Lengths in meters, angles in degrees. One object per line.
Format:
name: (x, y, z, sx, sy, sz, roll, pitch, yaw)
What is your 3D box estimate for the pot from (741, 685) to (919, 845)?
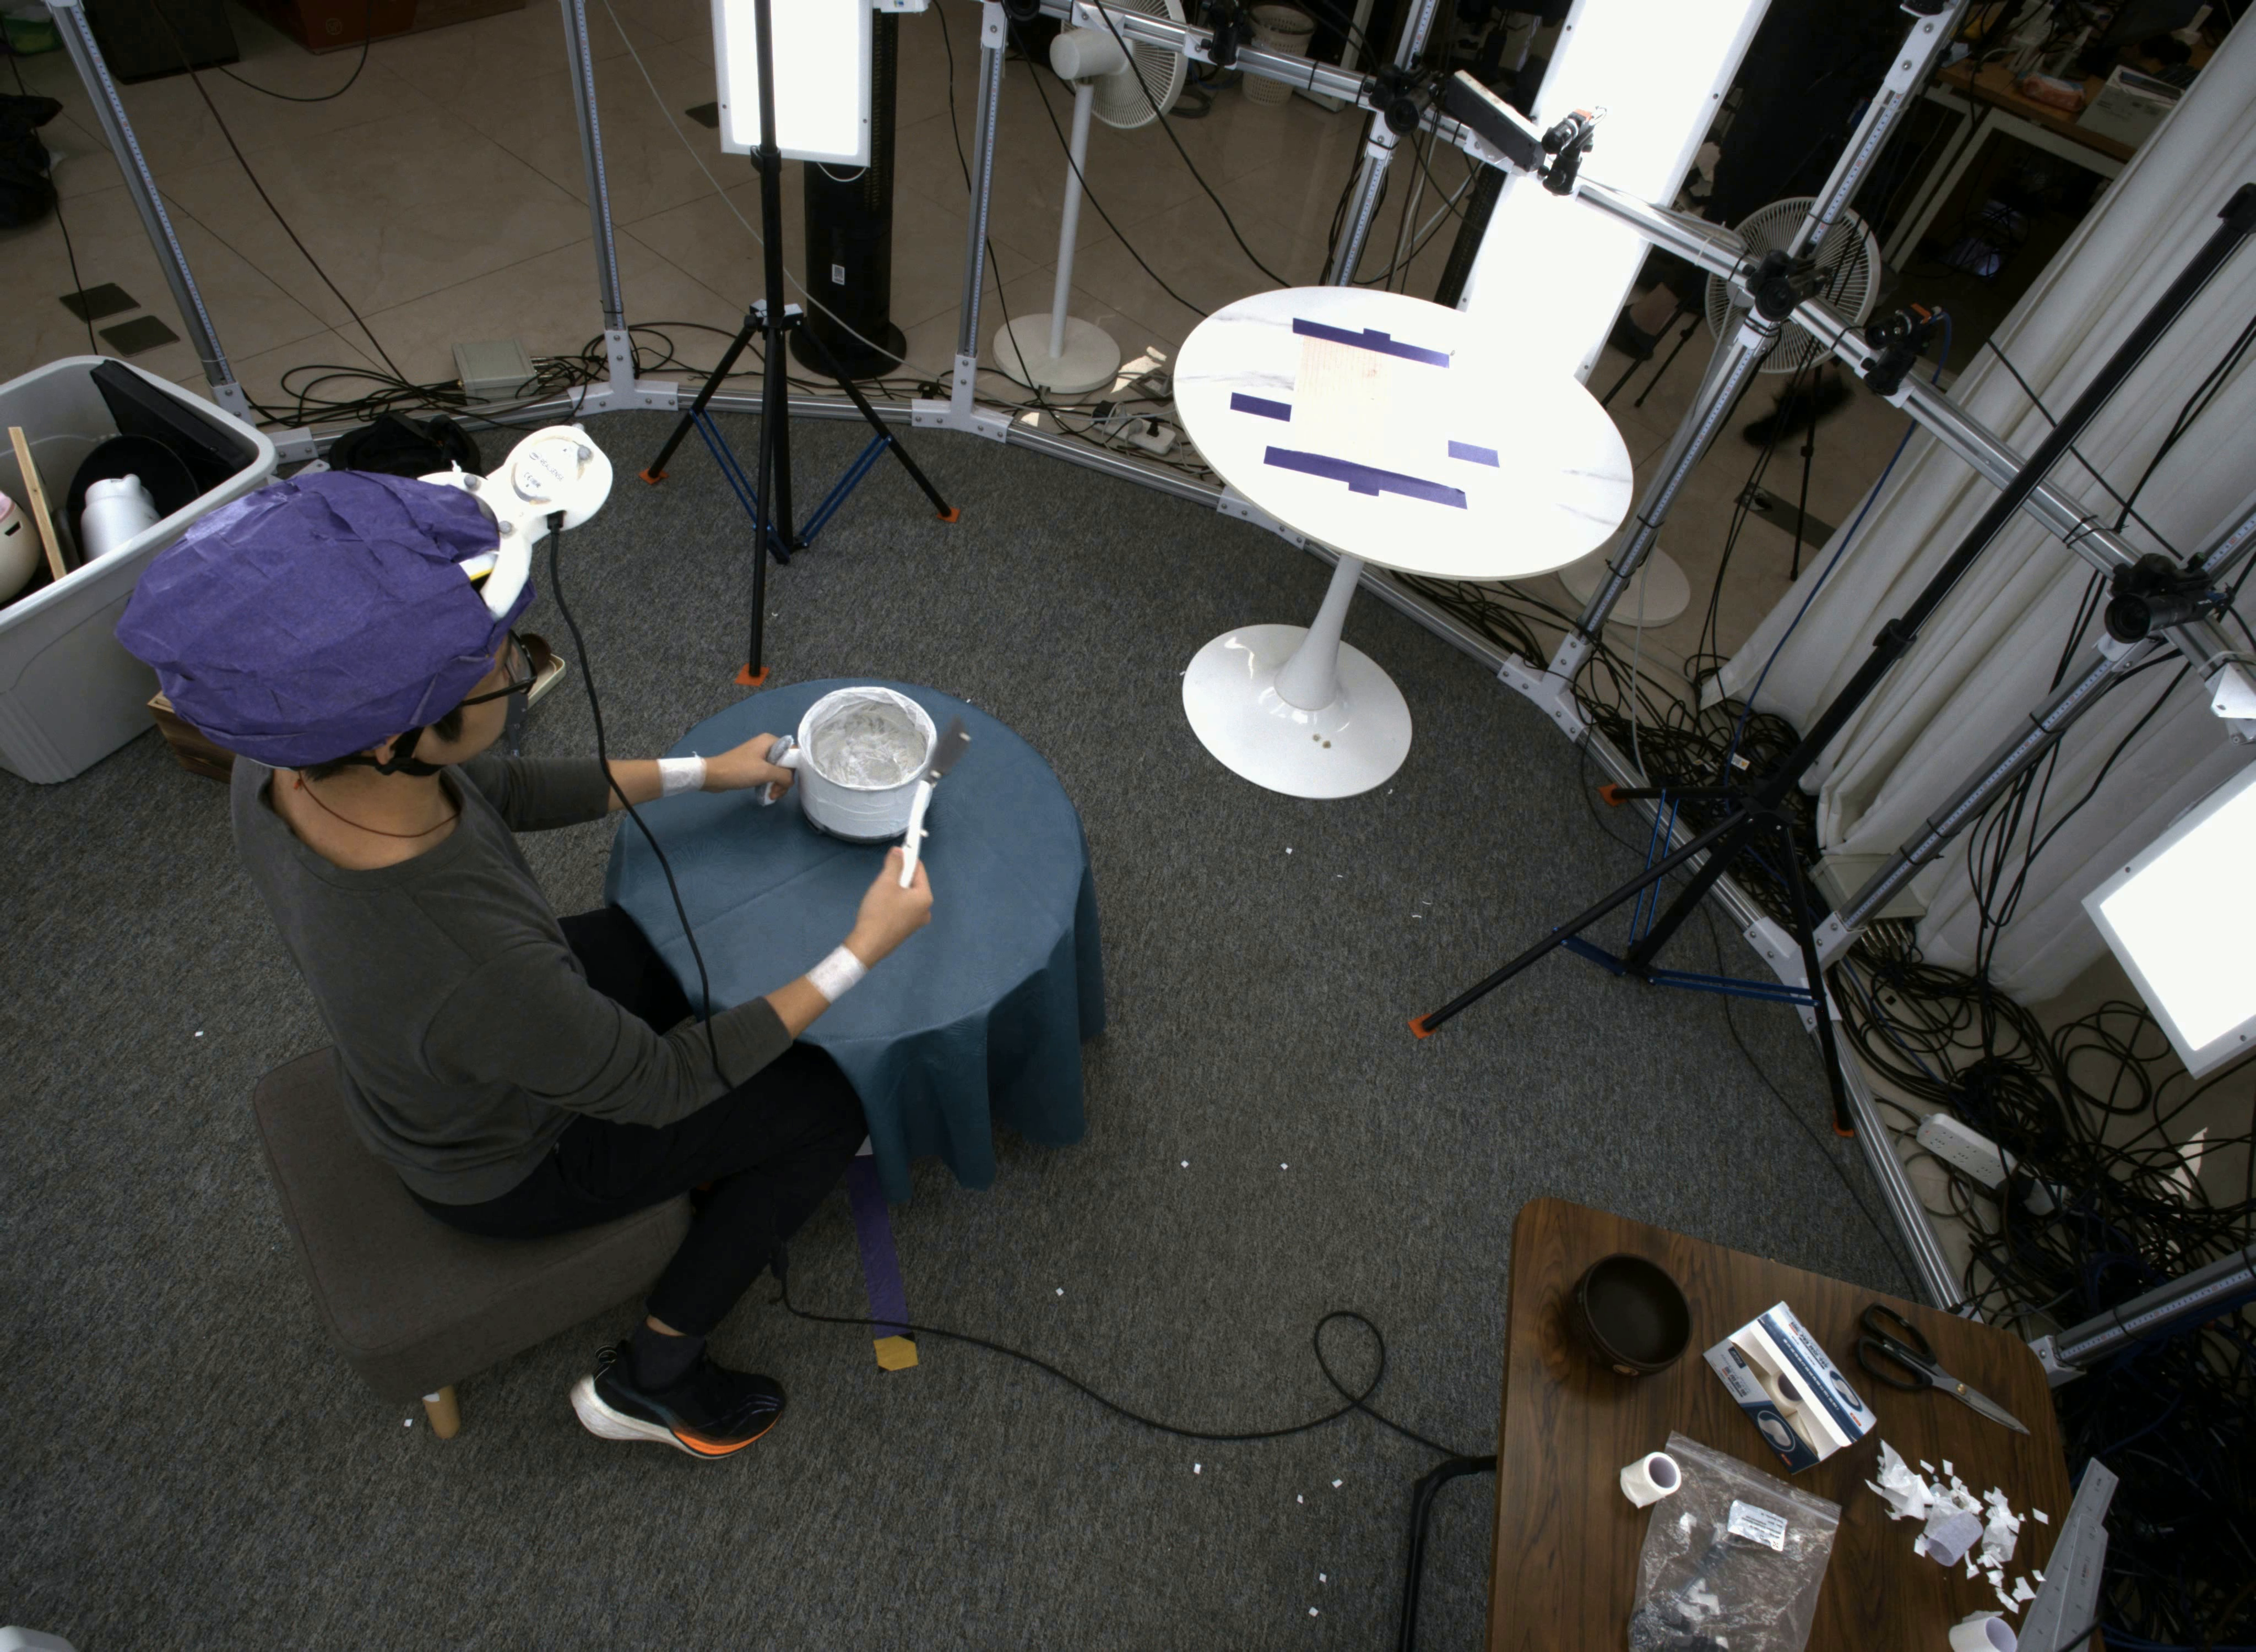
pot: (-0.392, -0.073, 1.708, 0.235, 0.139, 0.174, -6, 54, -19)

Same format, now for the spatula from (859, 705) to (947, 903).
spatula: (-0.265, -0.030, 1.540, 0.031, 0.061, 0.283, -8, 46, 20)
